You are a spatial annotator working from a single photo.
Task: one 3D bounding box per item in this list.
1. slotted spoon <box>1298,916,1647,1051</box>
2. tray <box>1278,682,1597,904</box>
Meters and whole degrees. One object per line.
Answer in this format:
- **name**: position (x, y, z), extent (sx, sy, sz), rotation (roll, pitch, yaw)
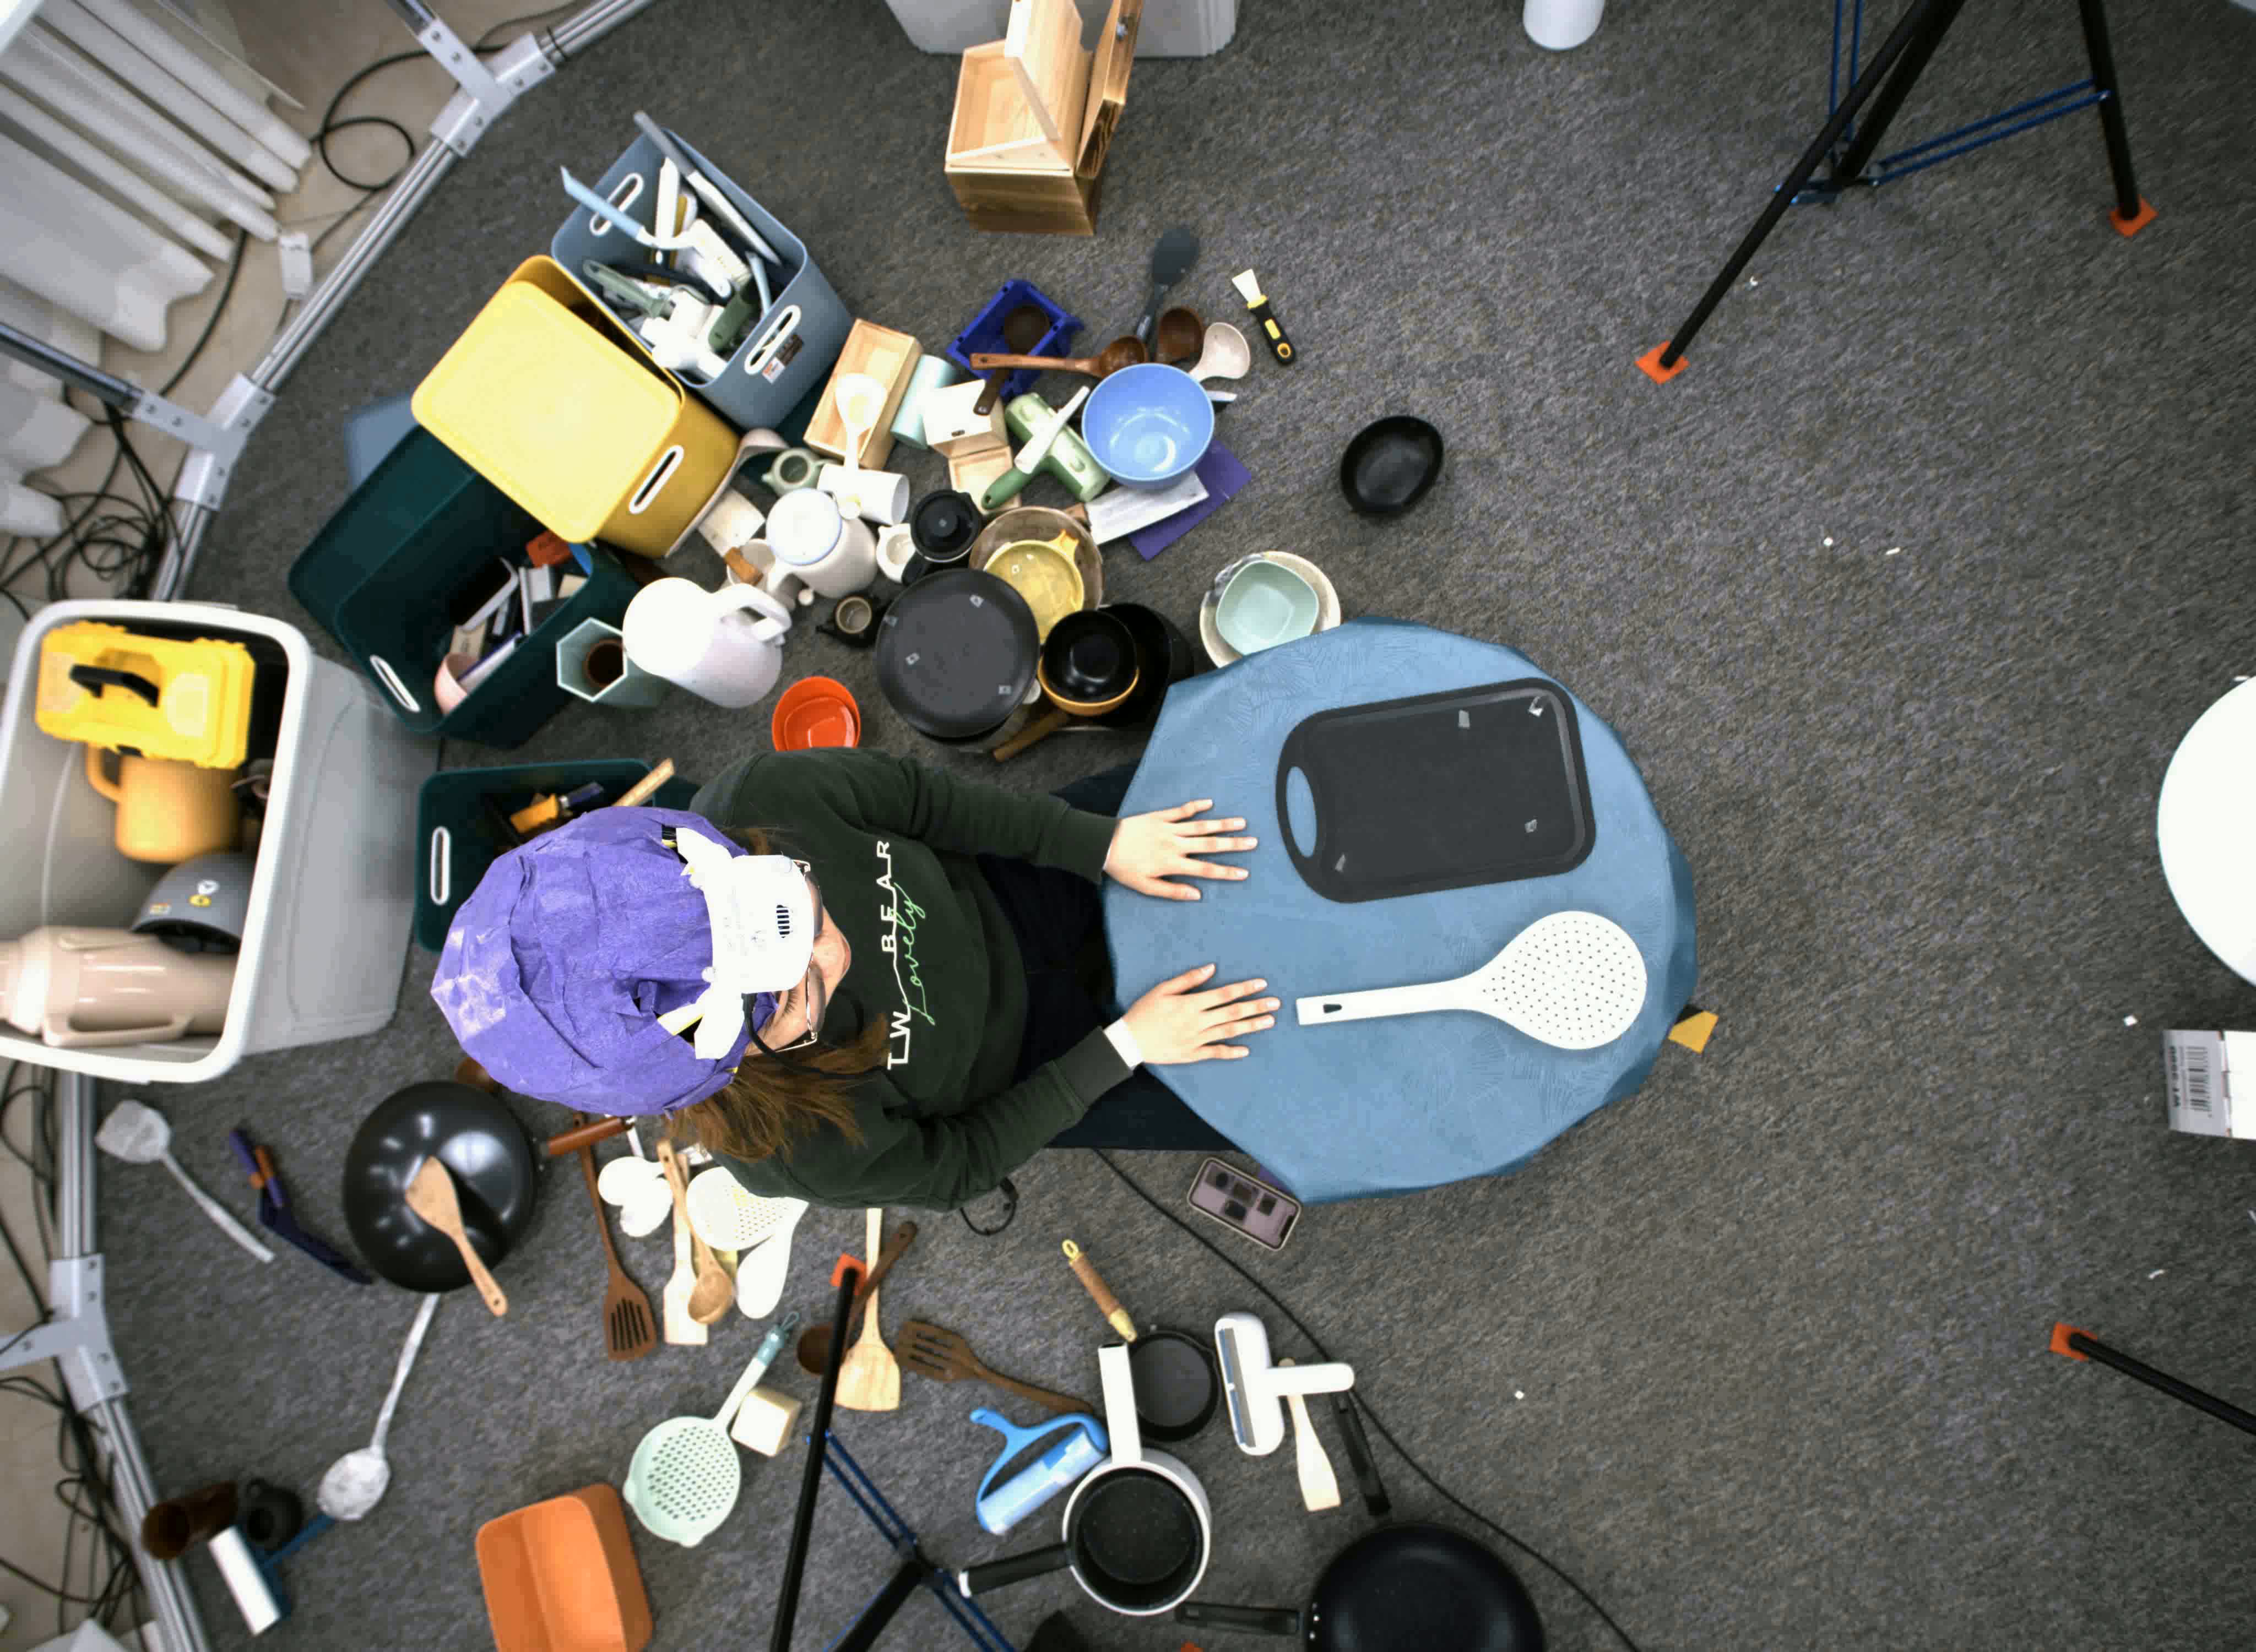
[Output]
- **slotted spoon**: position (0.350, 0.172, 1.420), extent (0.351, 0.046, 0.135), rotation (-8, 82, 11)
- **tray**: position (0.323, -0.035, 1.459), extent (0.327, 0.010, 0.210), rotation (-8, 84, 10)
